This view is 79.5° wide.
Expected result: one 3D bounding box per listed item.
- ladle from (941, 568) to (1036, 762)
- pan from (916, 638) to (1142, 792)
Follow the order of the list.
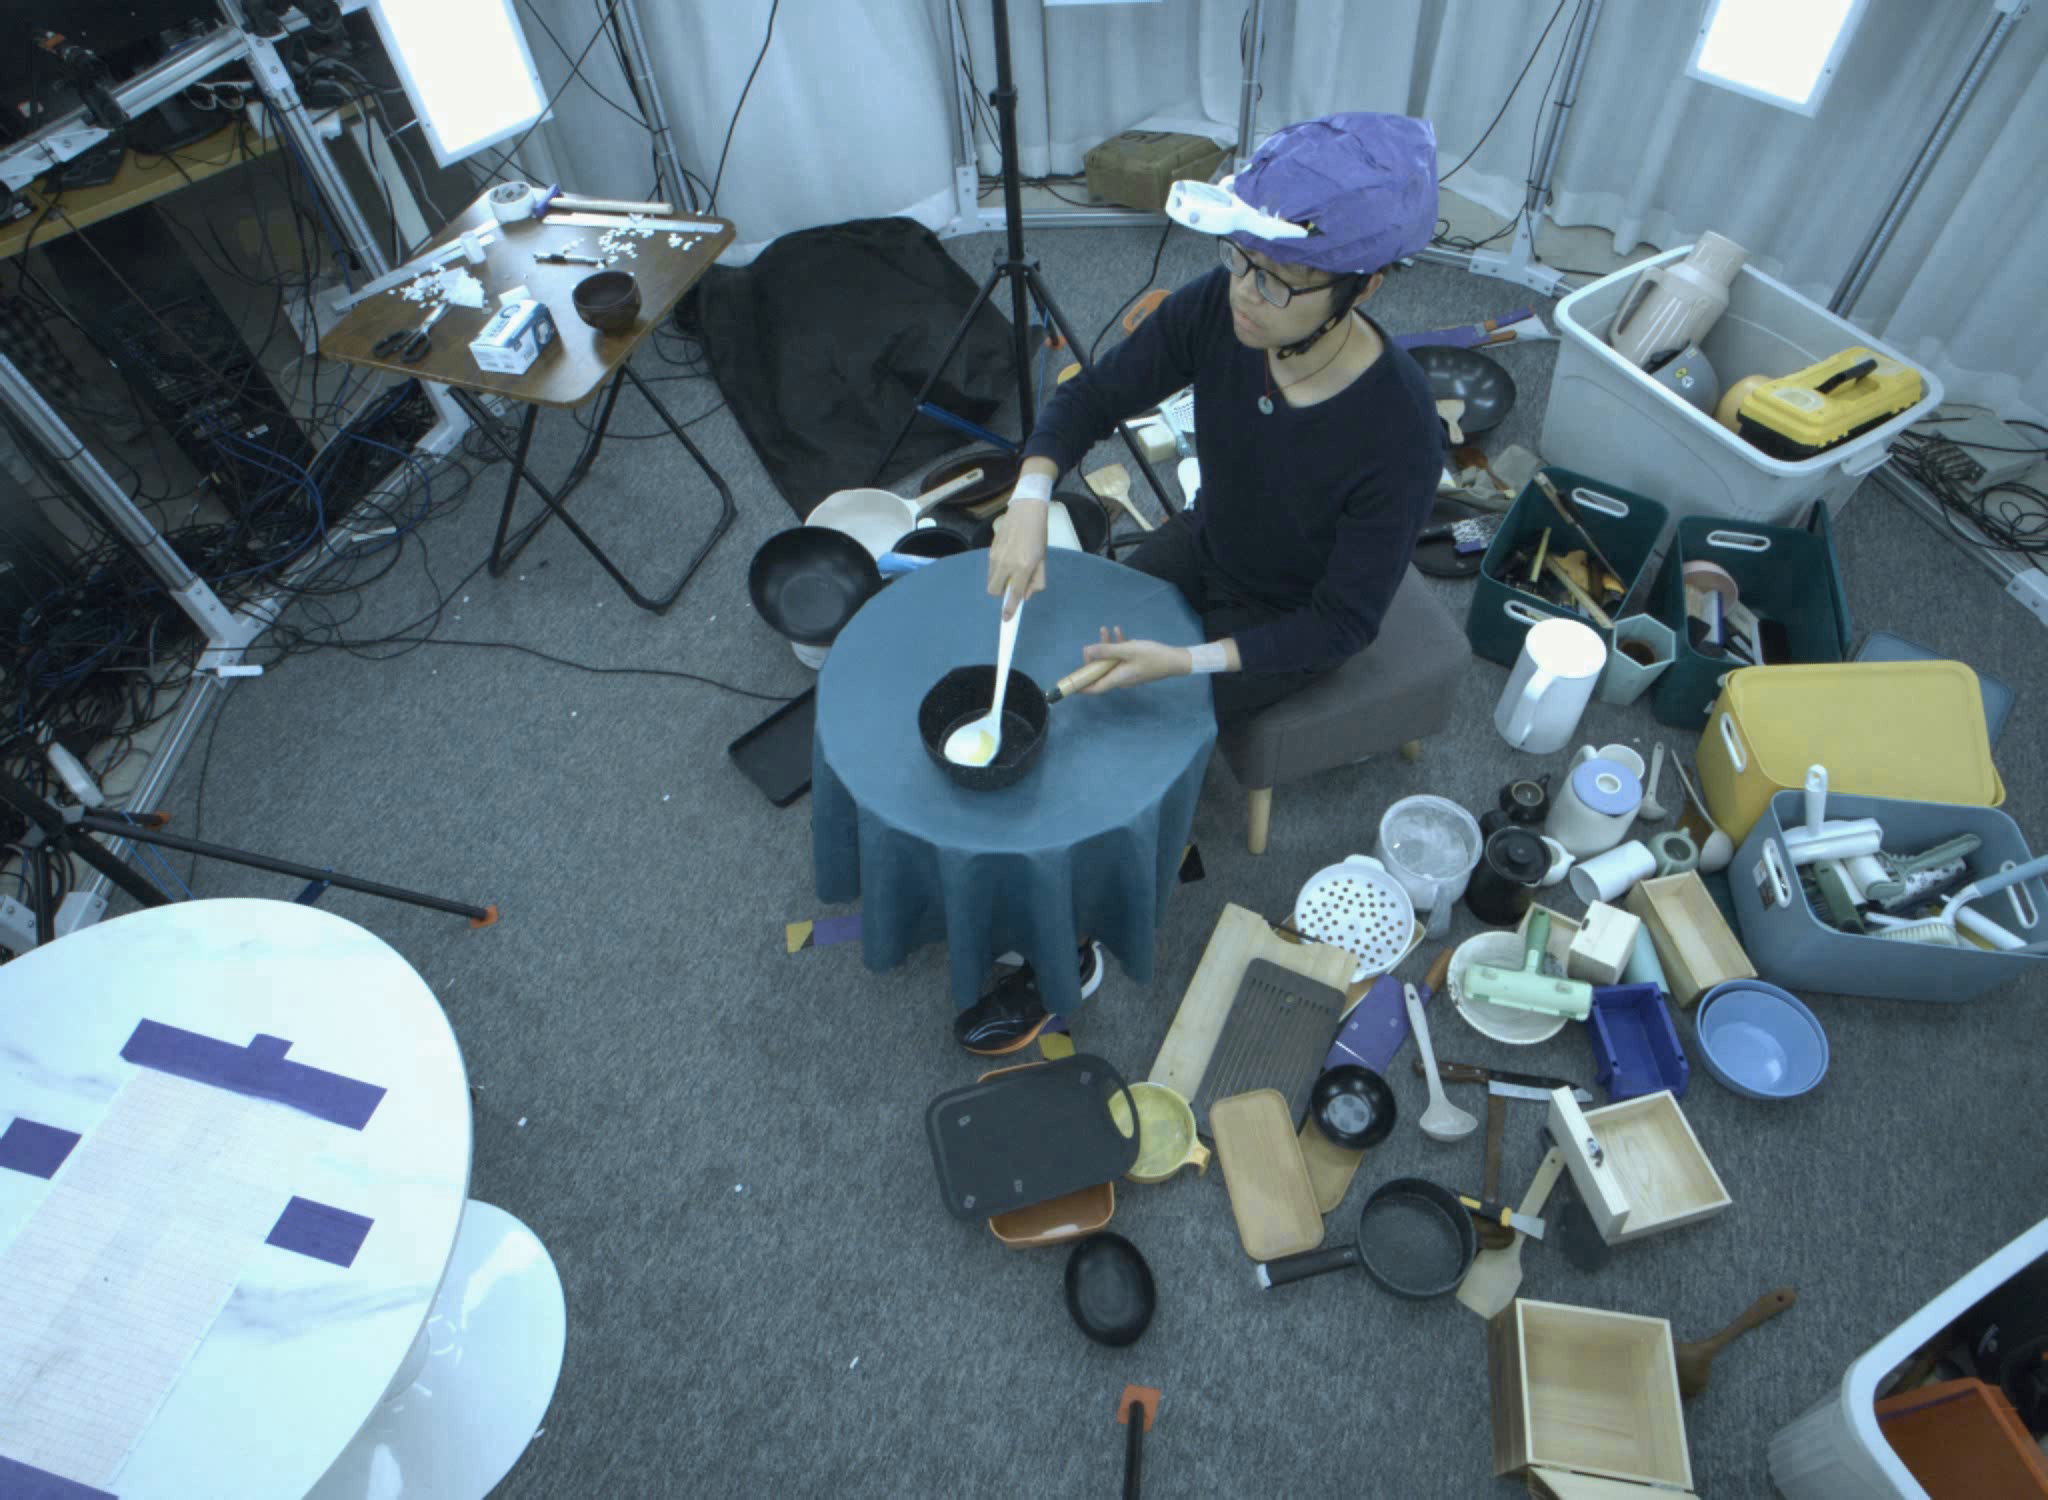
[{"bbox_3d":[-0.048,-0.116,1.735,0.071,0.293,0.088,3,19,-39],"label":"ladle"},{"bbox_3d":[0.015,-0.063,1.765,0.345,0.109,0.203,-24,56,-12],"label":"pan"}]
